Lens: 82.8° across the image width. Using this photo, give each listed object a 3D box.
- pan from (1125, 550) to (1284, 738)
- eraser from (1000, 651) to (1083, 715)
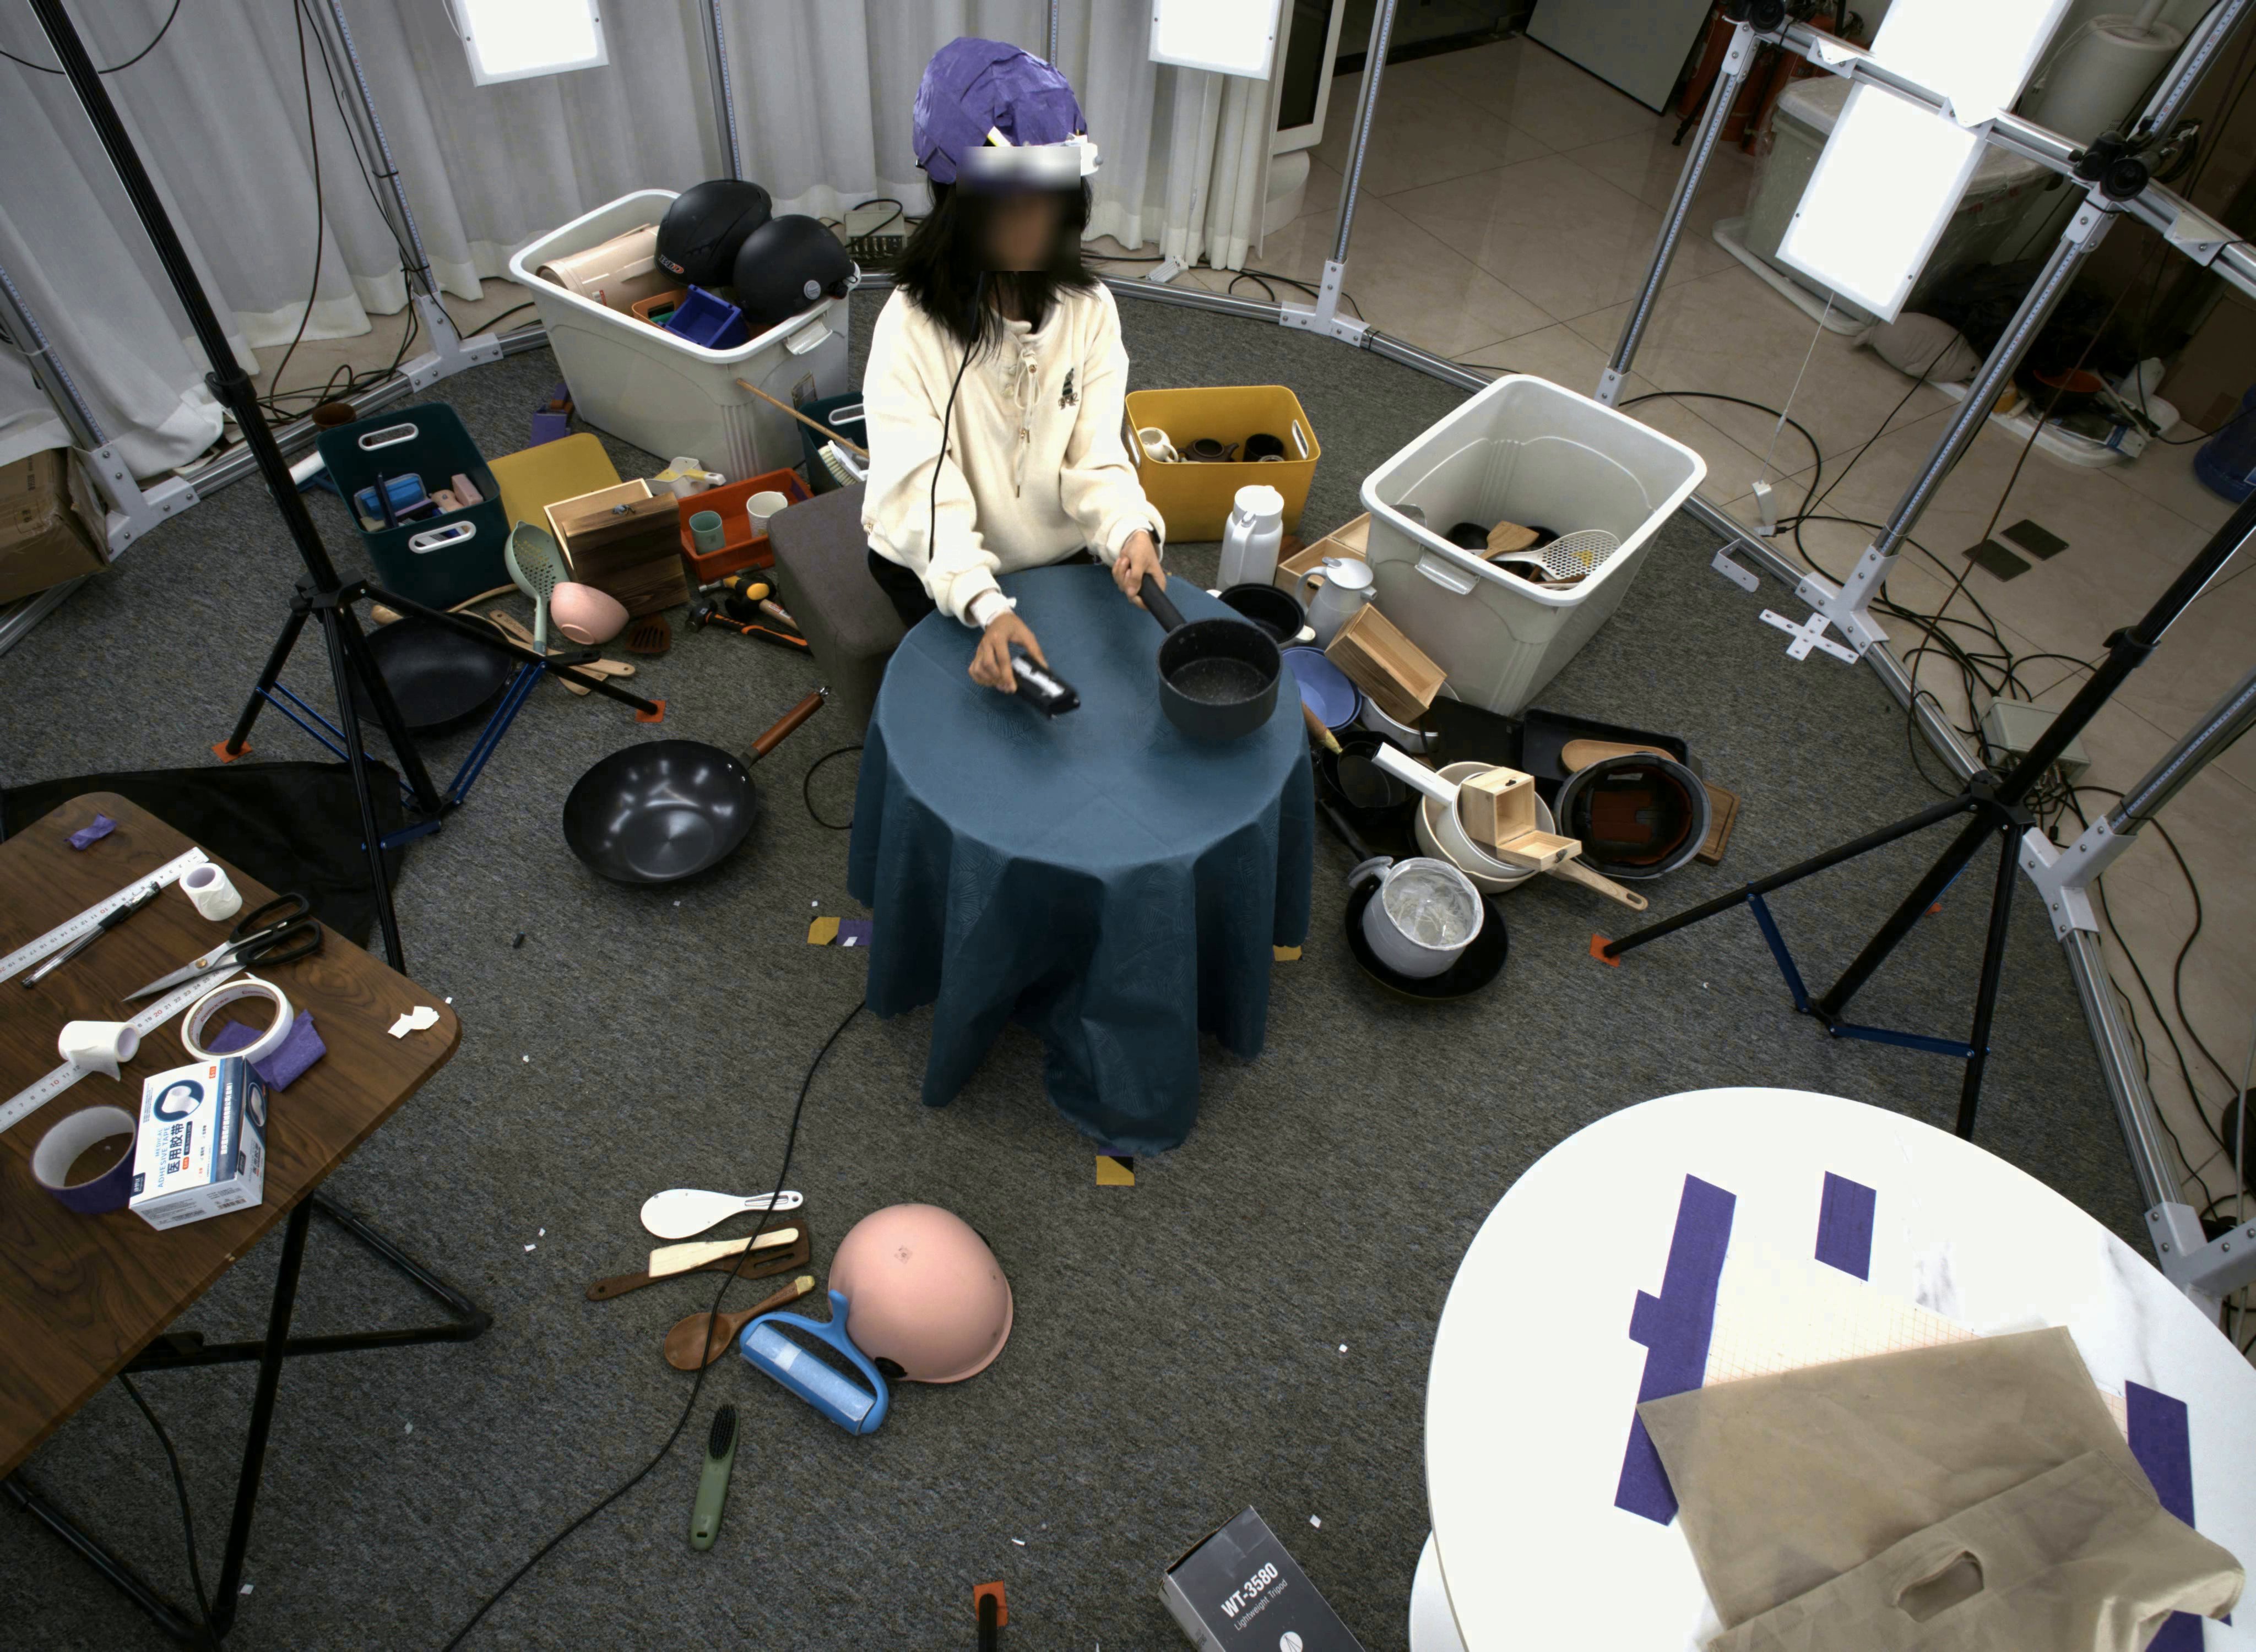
[{"bbox_3d":[0.086,-0.258,1.795,0.172,0.084,0.336,-24,54,-16],"label":"pan"},{"bbox_3d":[-0.118,-0.197,1.753,0.054,0.030,0.128,-28,44,-27],"label":"eraser"}]
